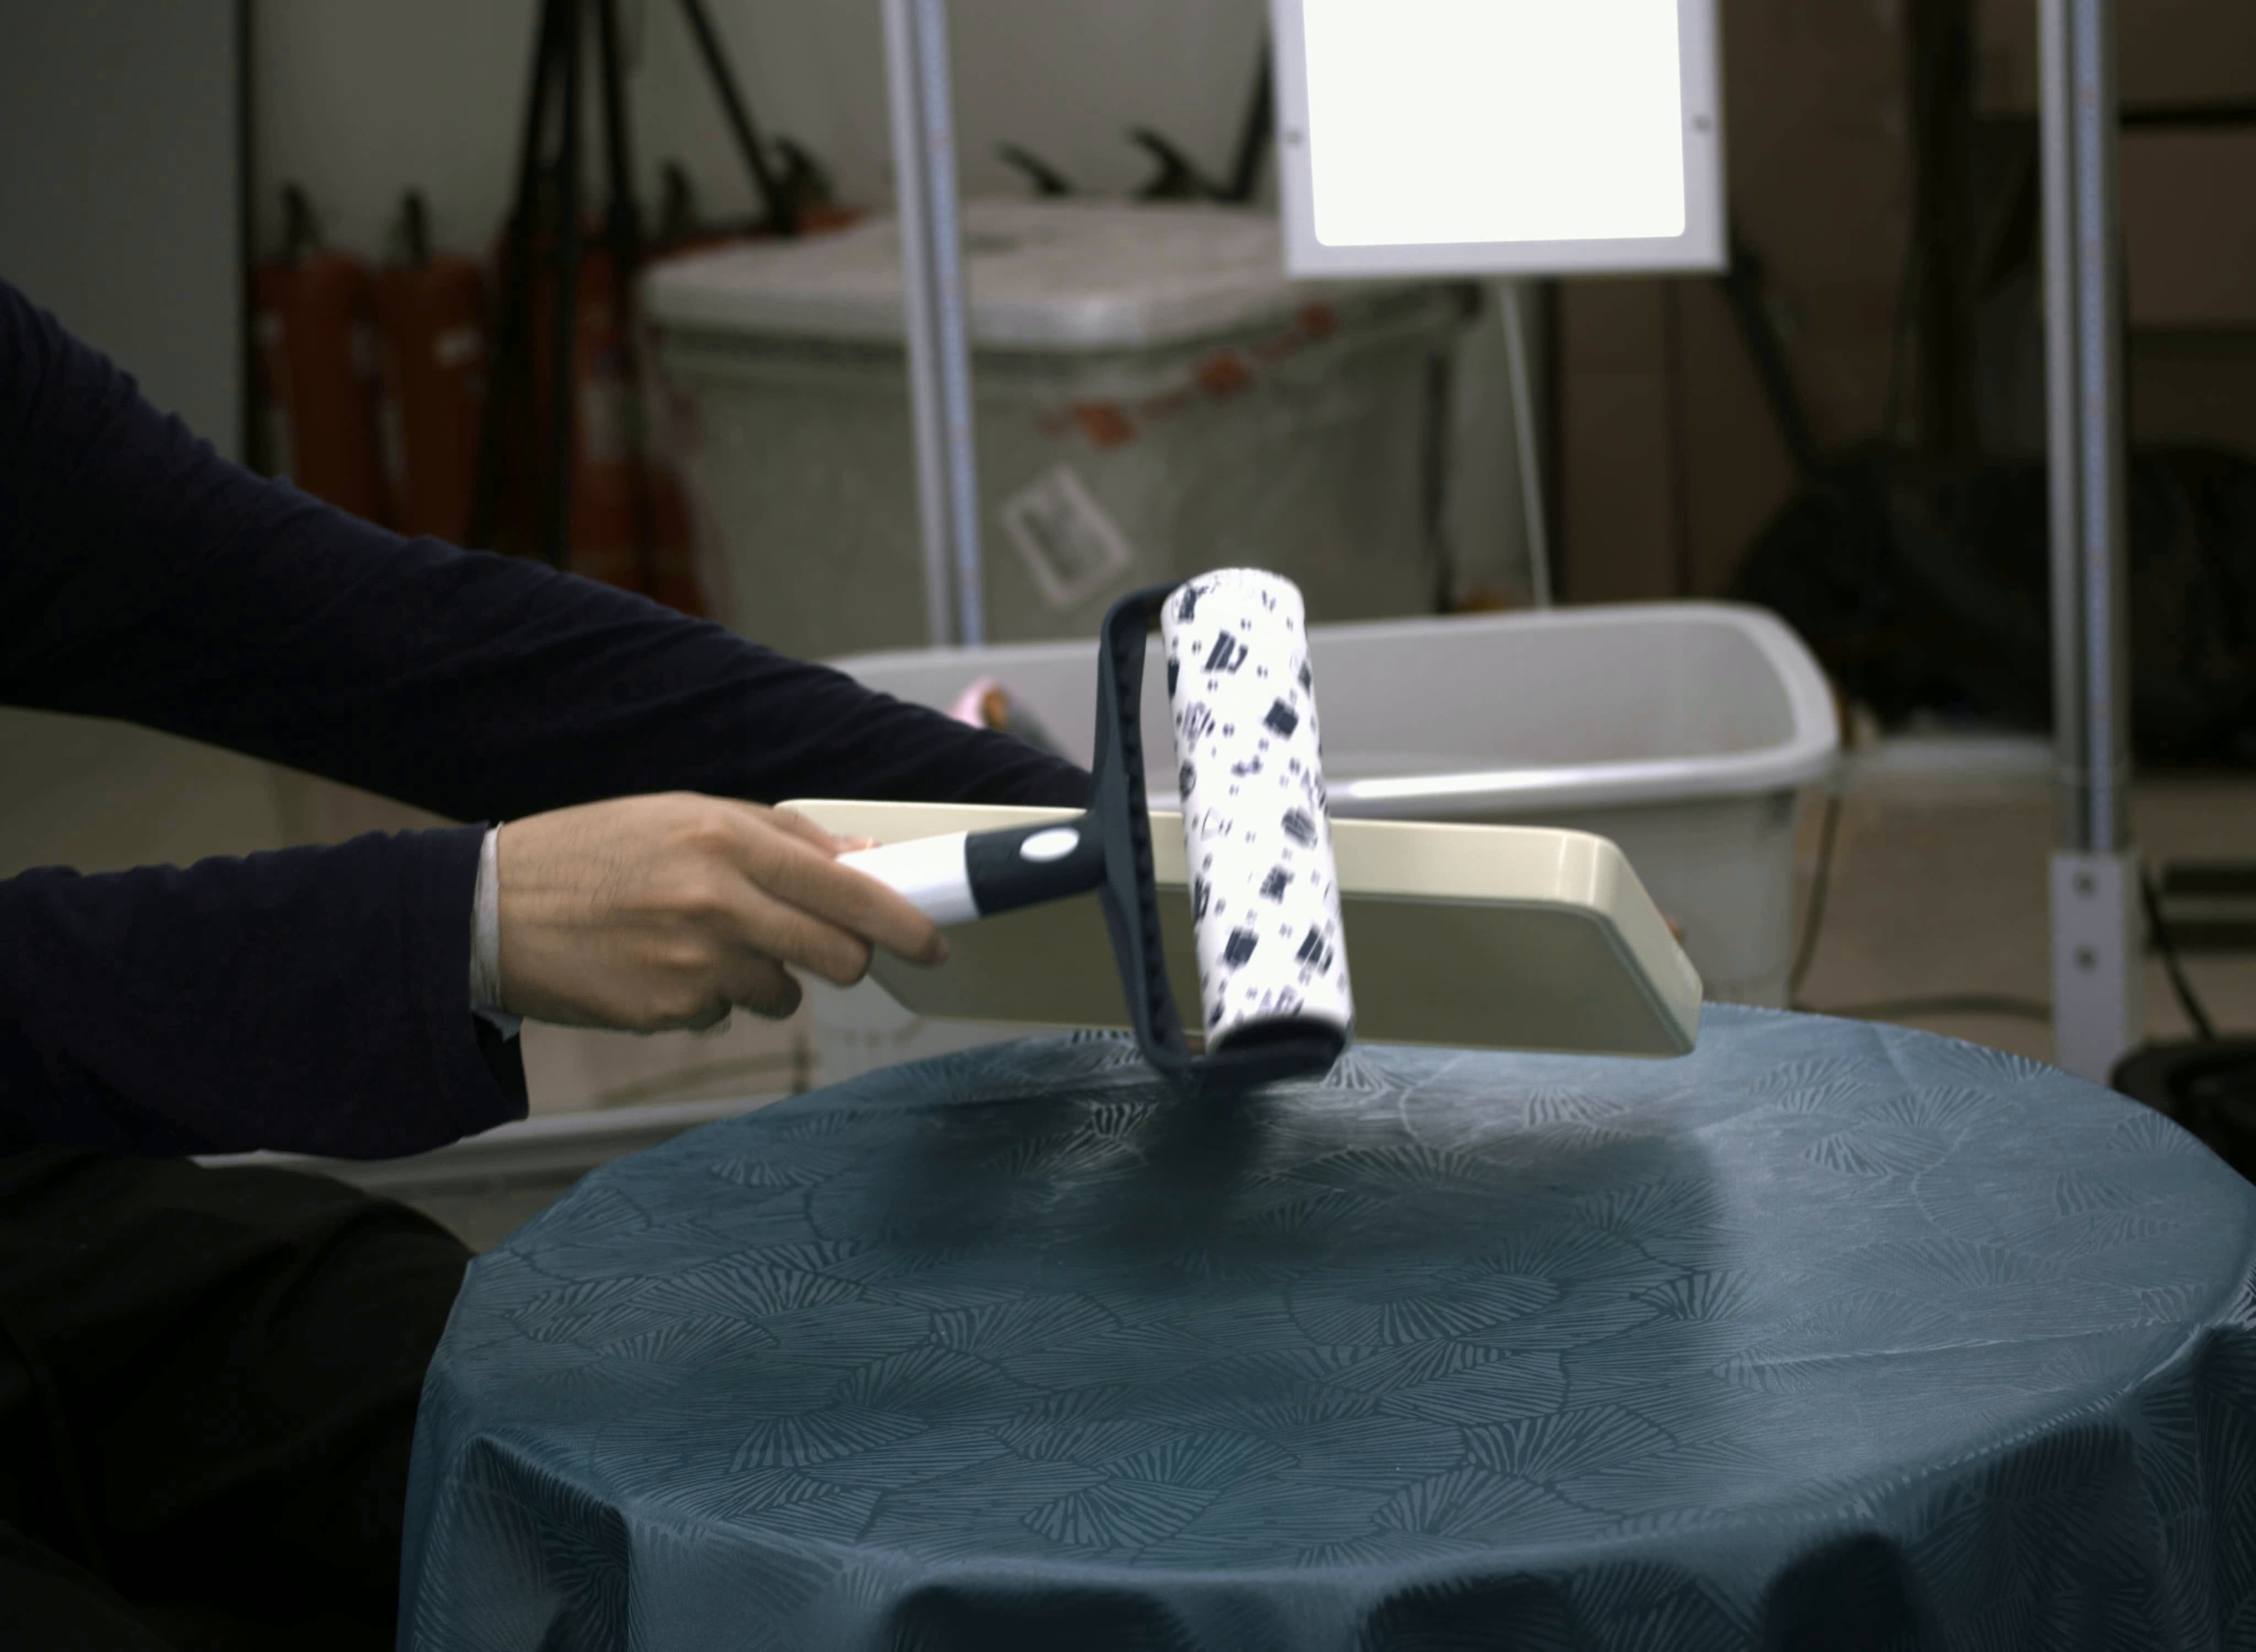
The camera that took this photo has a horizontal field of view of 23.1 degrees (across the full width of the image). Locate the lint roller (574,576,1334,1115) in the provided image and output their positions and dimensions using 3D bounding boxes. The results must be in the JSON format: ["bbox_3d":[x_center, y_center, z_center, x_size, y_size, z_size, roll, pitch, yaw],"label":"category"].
[{"bbox_3d":[-0.061,0.022,1.757,0.249,0.176,0.050,-11,-27,11],"label":"lint roller"}]

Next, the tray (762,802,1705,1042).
[{"bbox_3d":[0.039,0.035,1.915,0.304,0.027,0.189,2,-16,20],"label":"tray"}]
